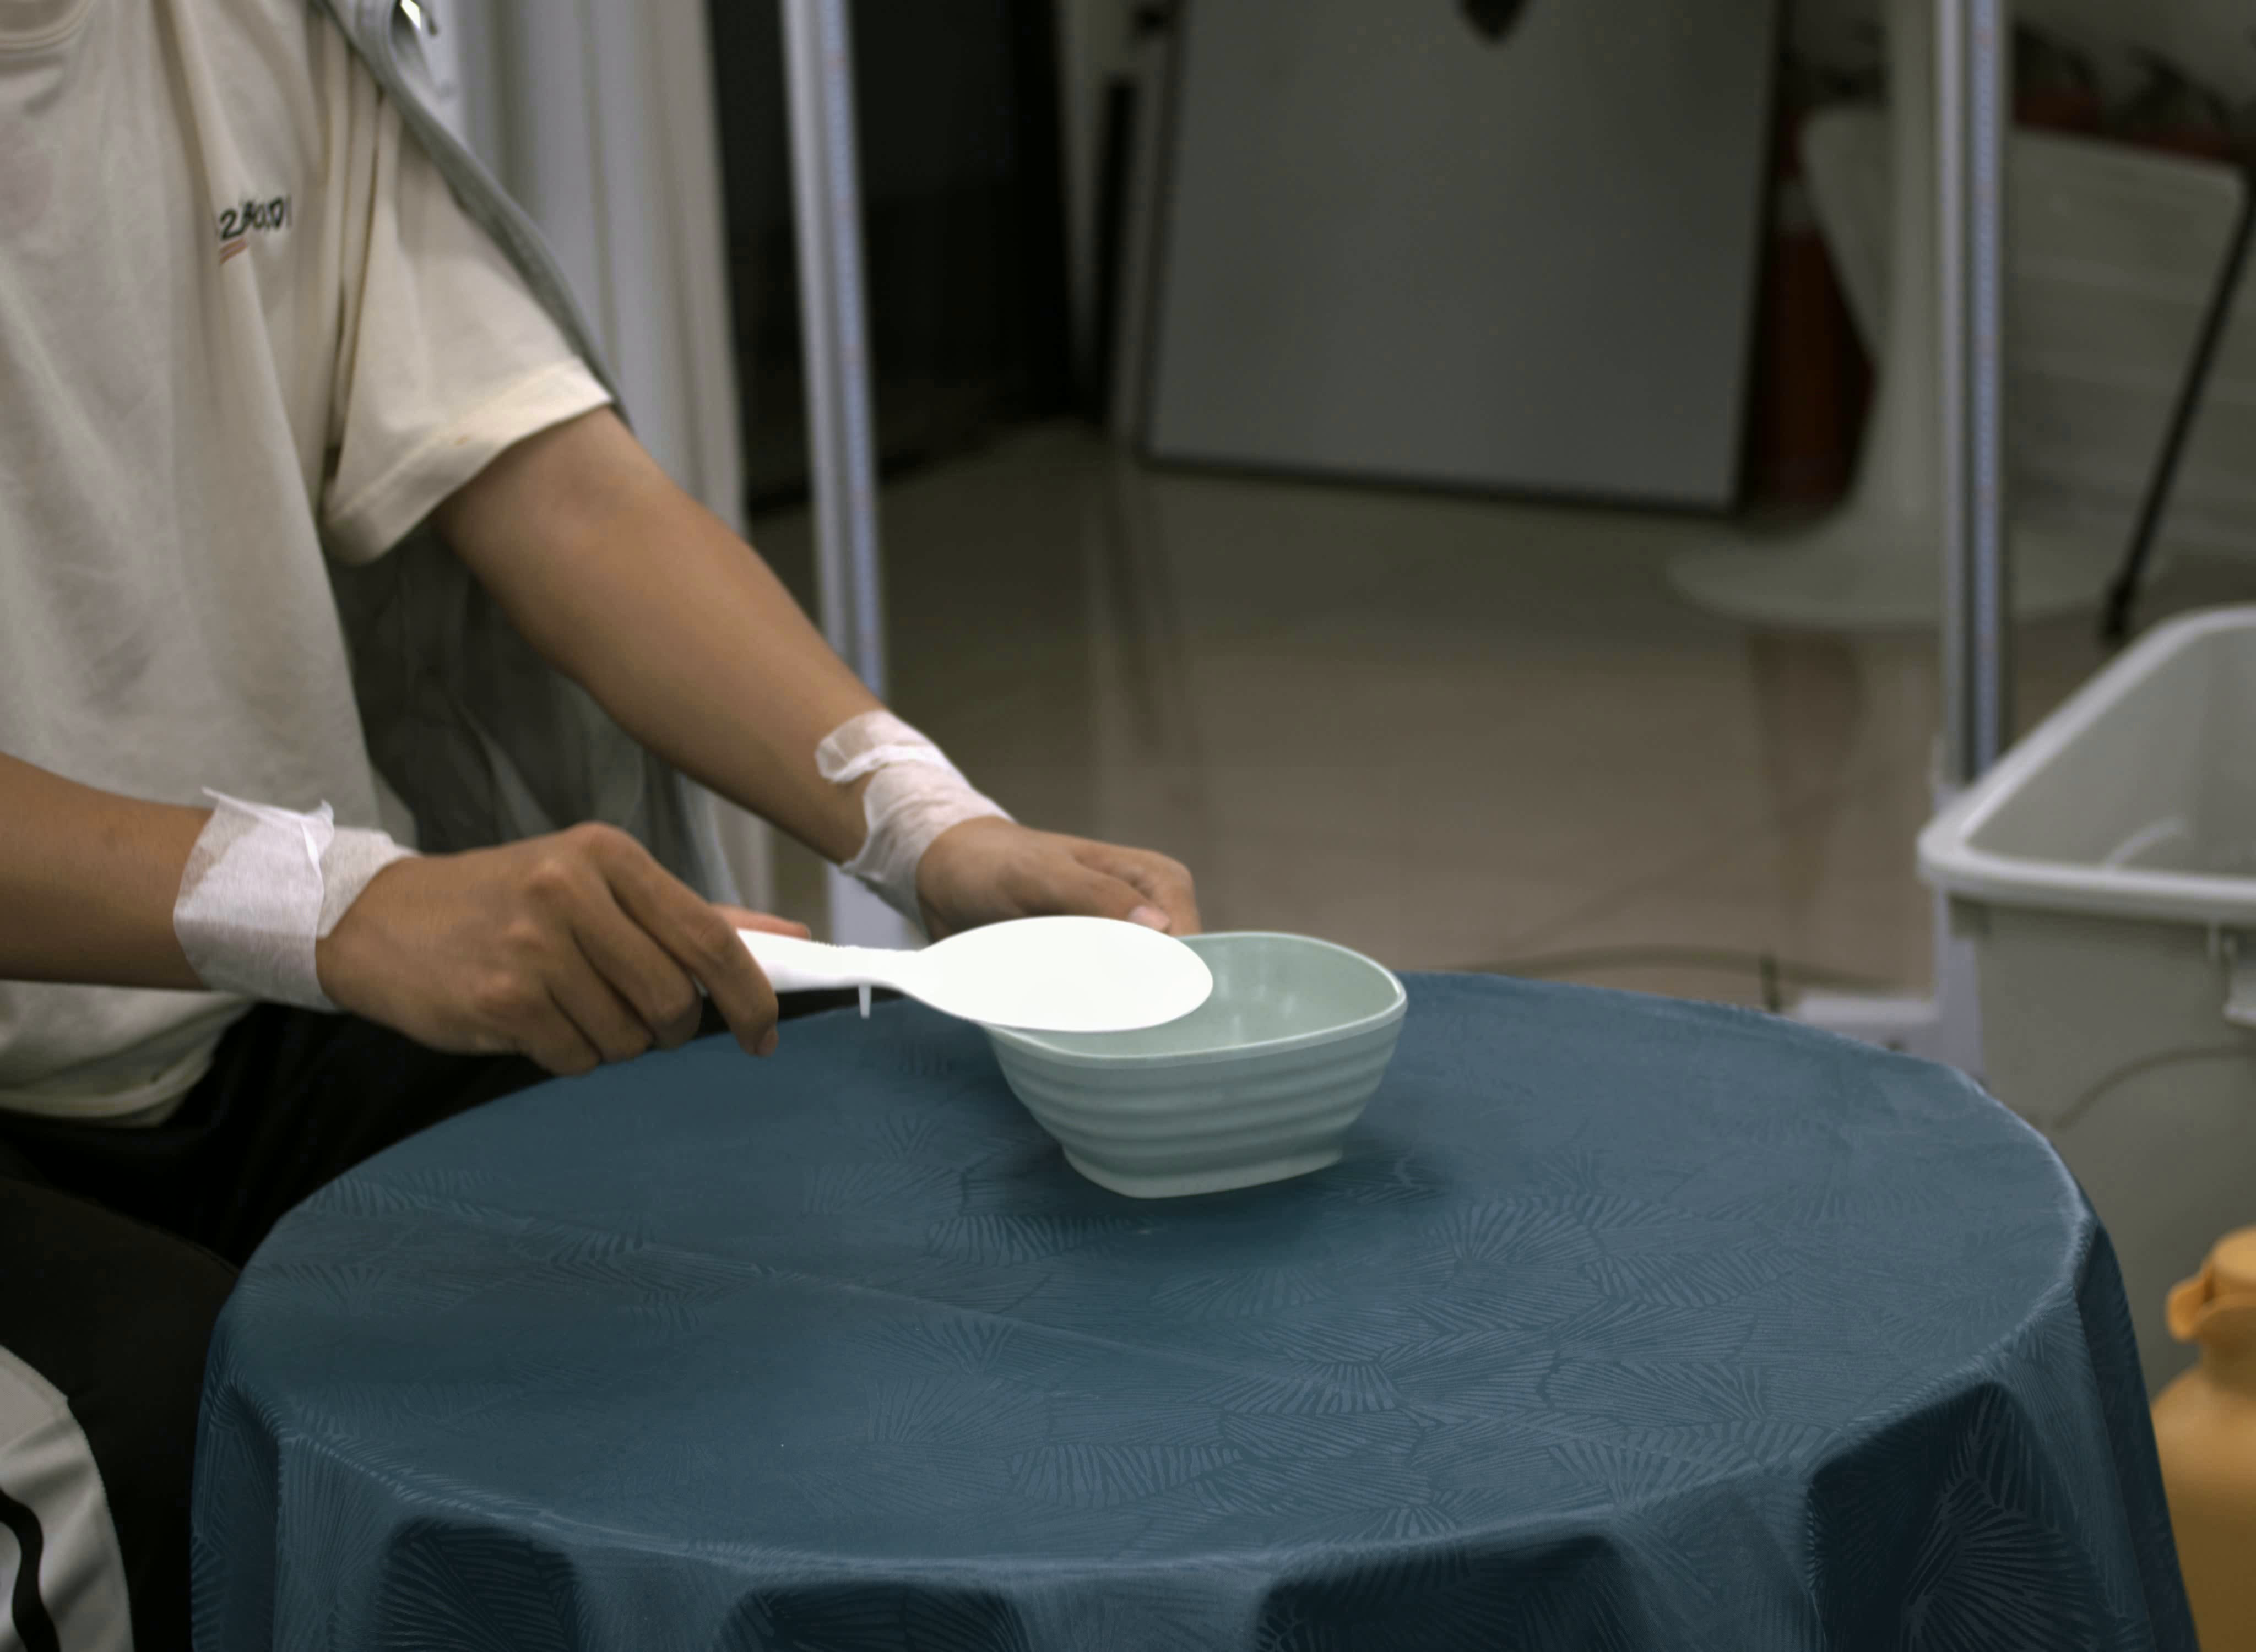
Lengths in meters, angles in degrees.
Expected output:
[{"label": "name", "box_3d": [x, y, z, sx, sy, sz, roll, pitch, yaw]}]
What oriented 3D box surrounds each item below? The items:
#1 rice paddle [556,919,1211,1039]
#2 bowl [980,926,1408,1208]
[{"label": "rice paddle", "box_3d": [-0.075, 0.047, 1.678, 0.203, 0.029, 0.069, 0, 30, 3]}, {"label": "bowl", "box_3d": [0.022, 0.084, 1.801, 0.149, 0.059, 0.152, -3, 16, 0]}]
